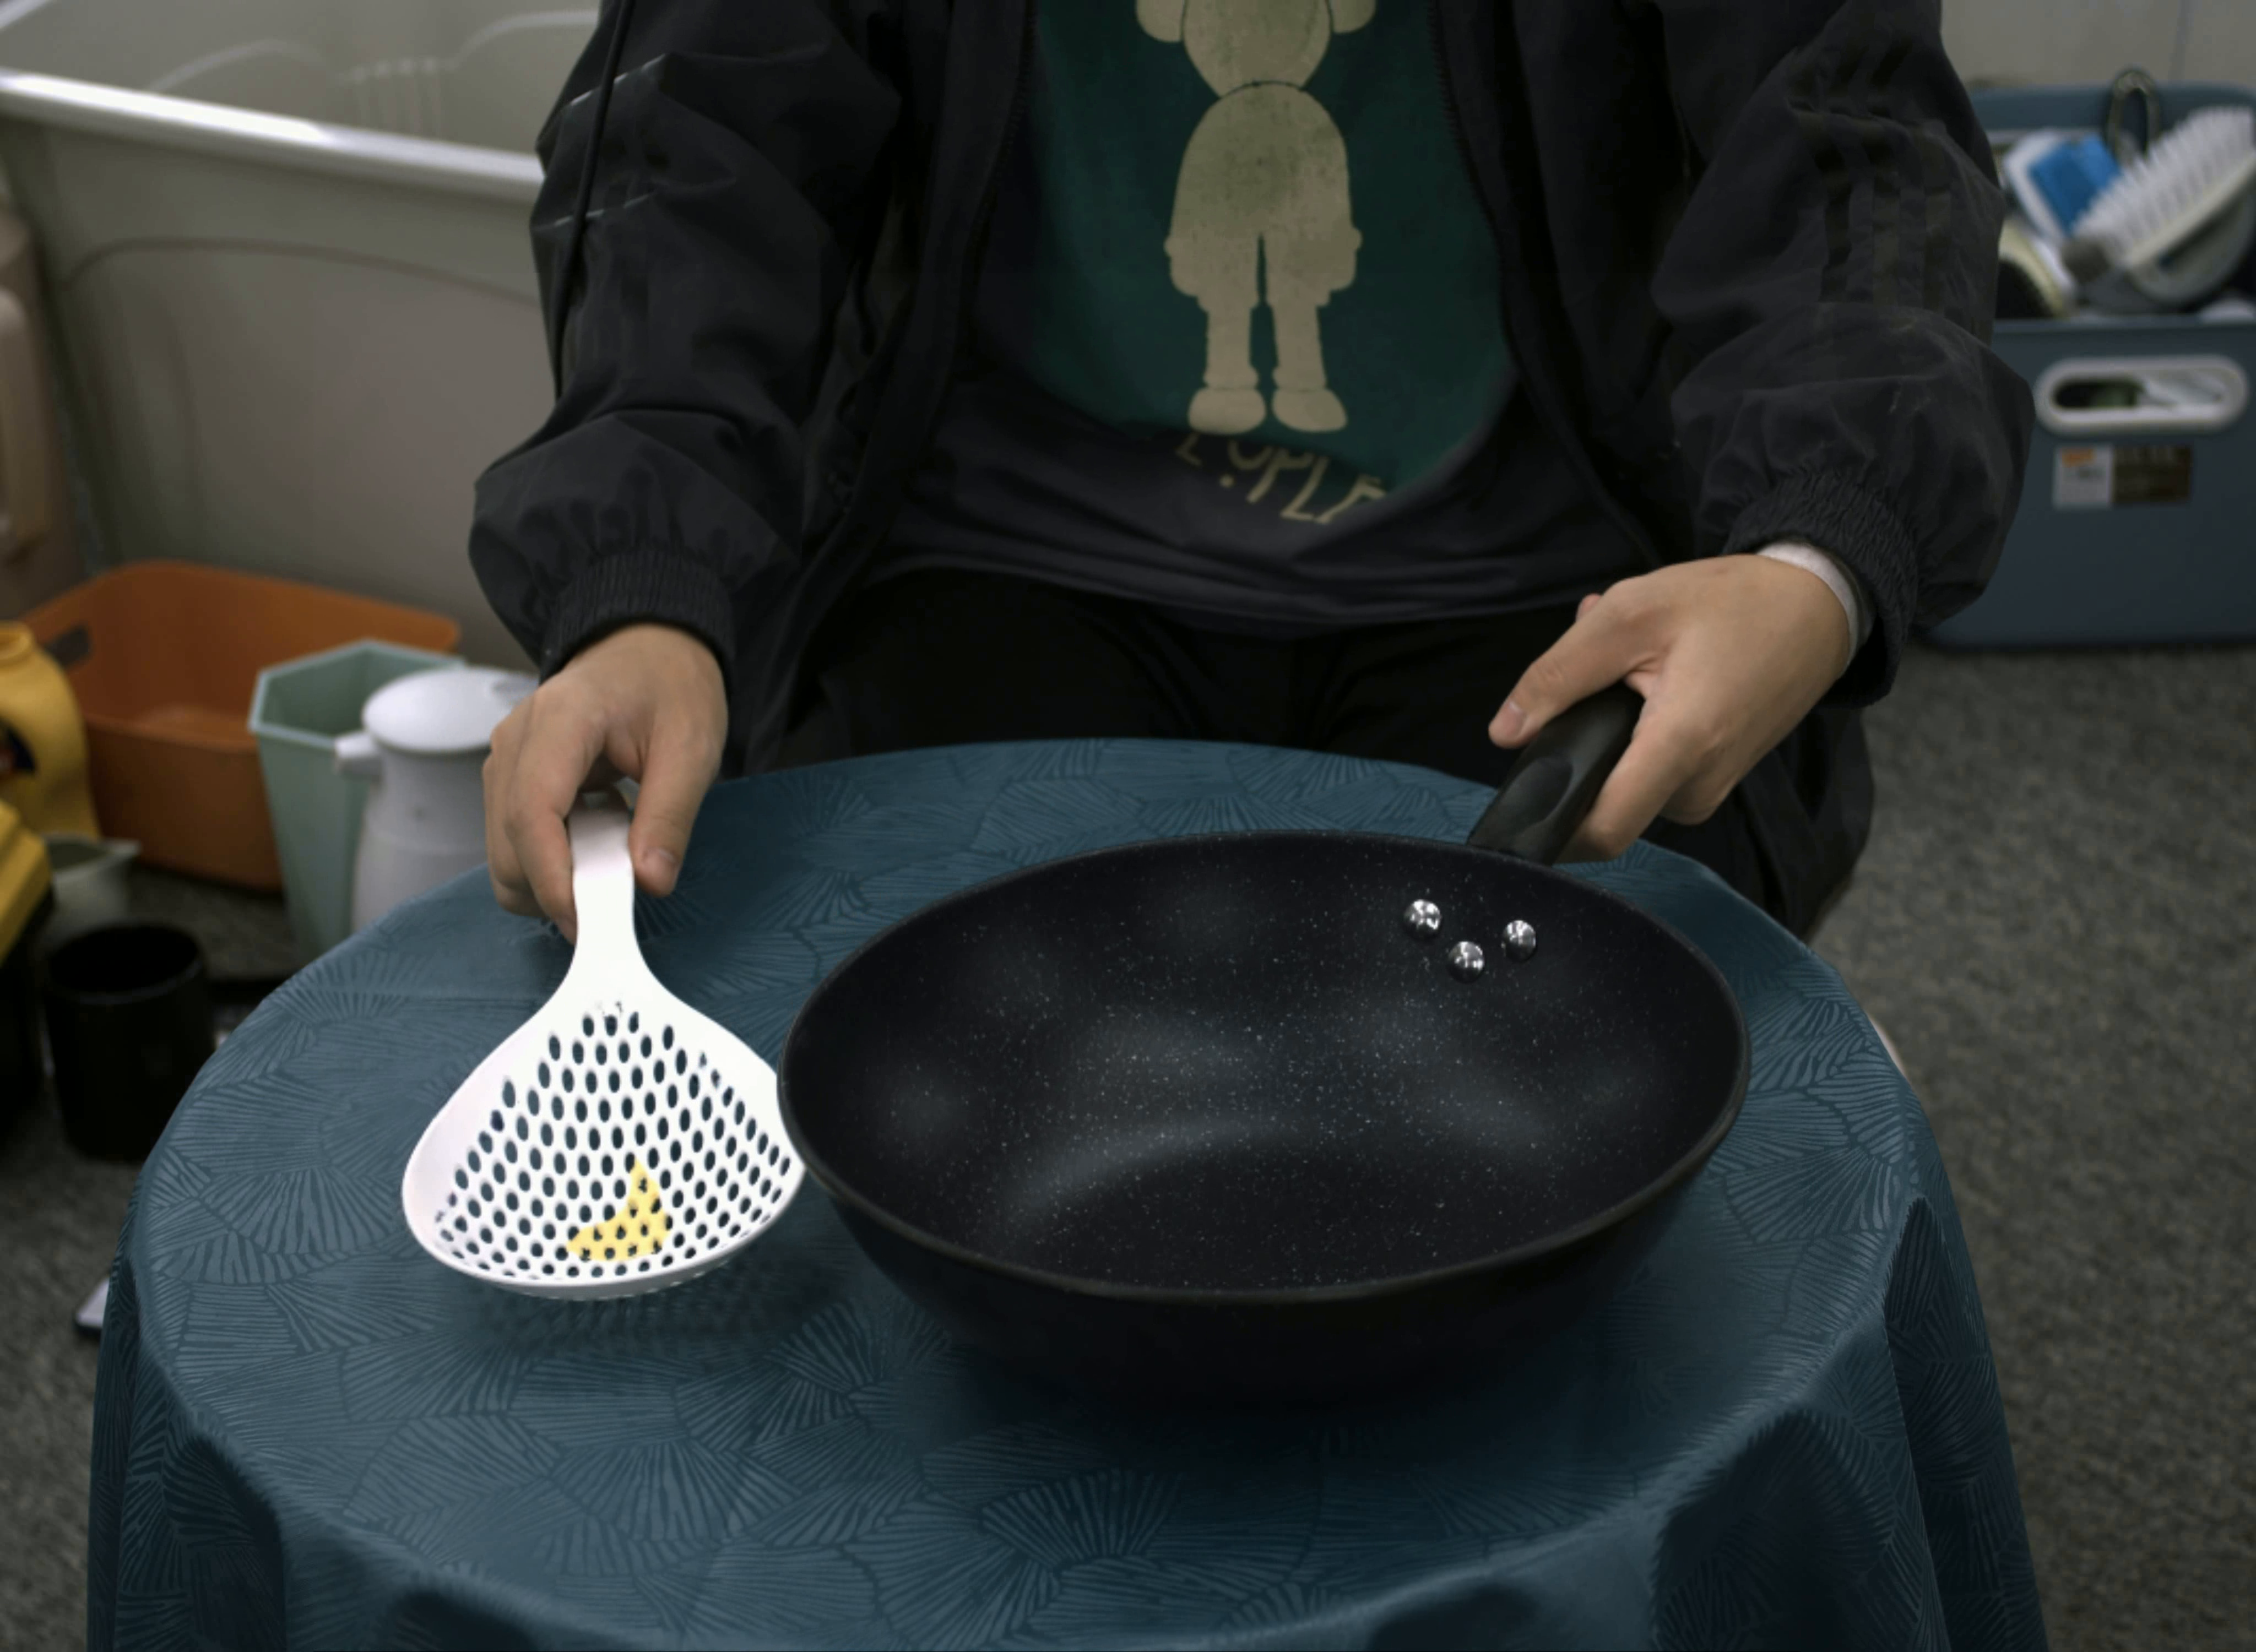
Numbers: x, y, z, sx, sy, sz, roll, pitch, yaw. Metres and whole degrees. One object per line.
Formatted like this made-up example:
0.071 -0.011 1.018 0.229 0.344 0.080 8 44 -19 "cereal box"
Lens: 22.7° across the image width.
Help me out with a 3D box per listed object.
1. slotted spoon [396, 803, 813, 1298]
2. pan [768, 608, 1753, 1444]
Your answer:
-0.178 0.065 1.919 0.136 0.050 0.353 -8 32 -2 "slotted spoon"
0.084 0.067 1.843 0.308 0.110 0.484 13 30 27 "pan"
